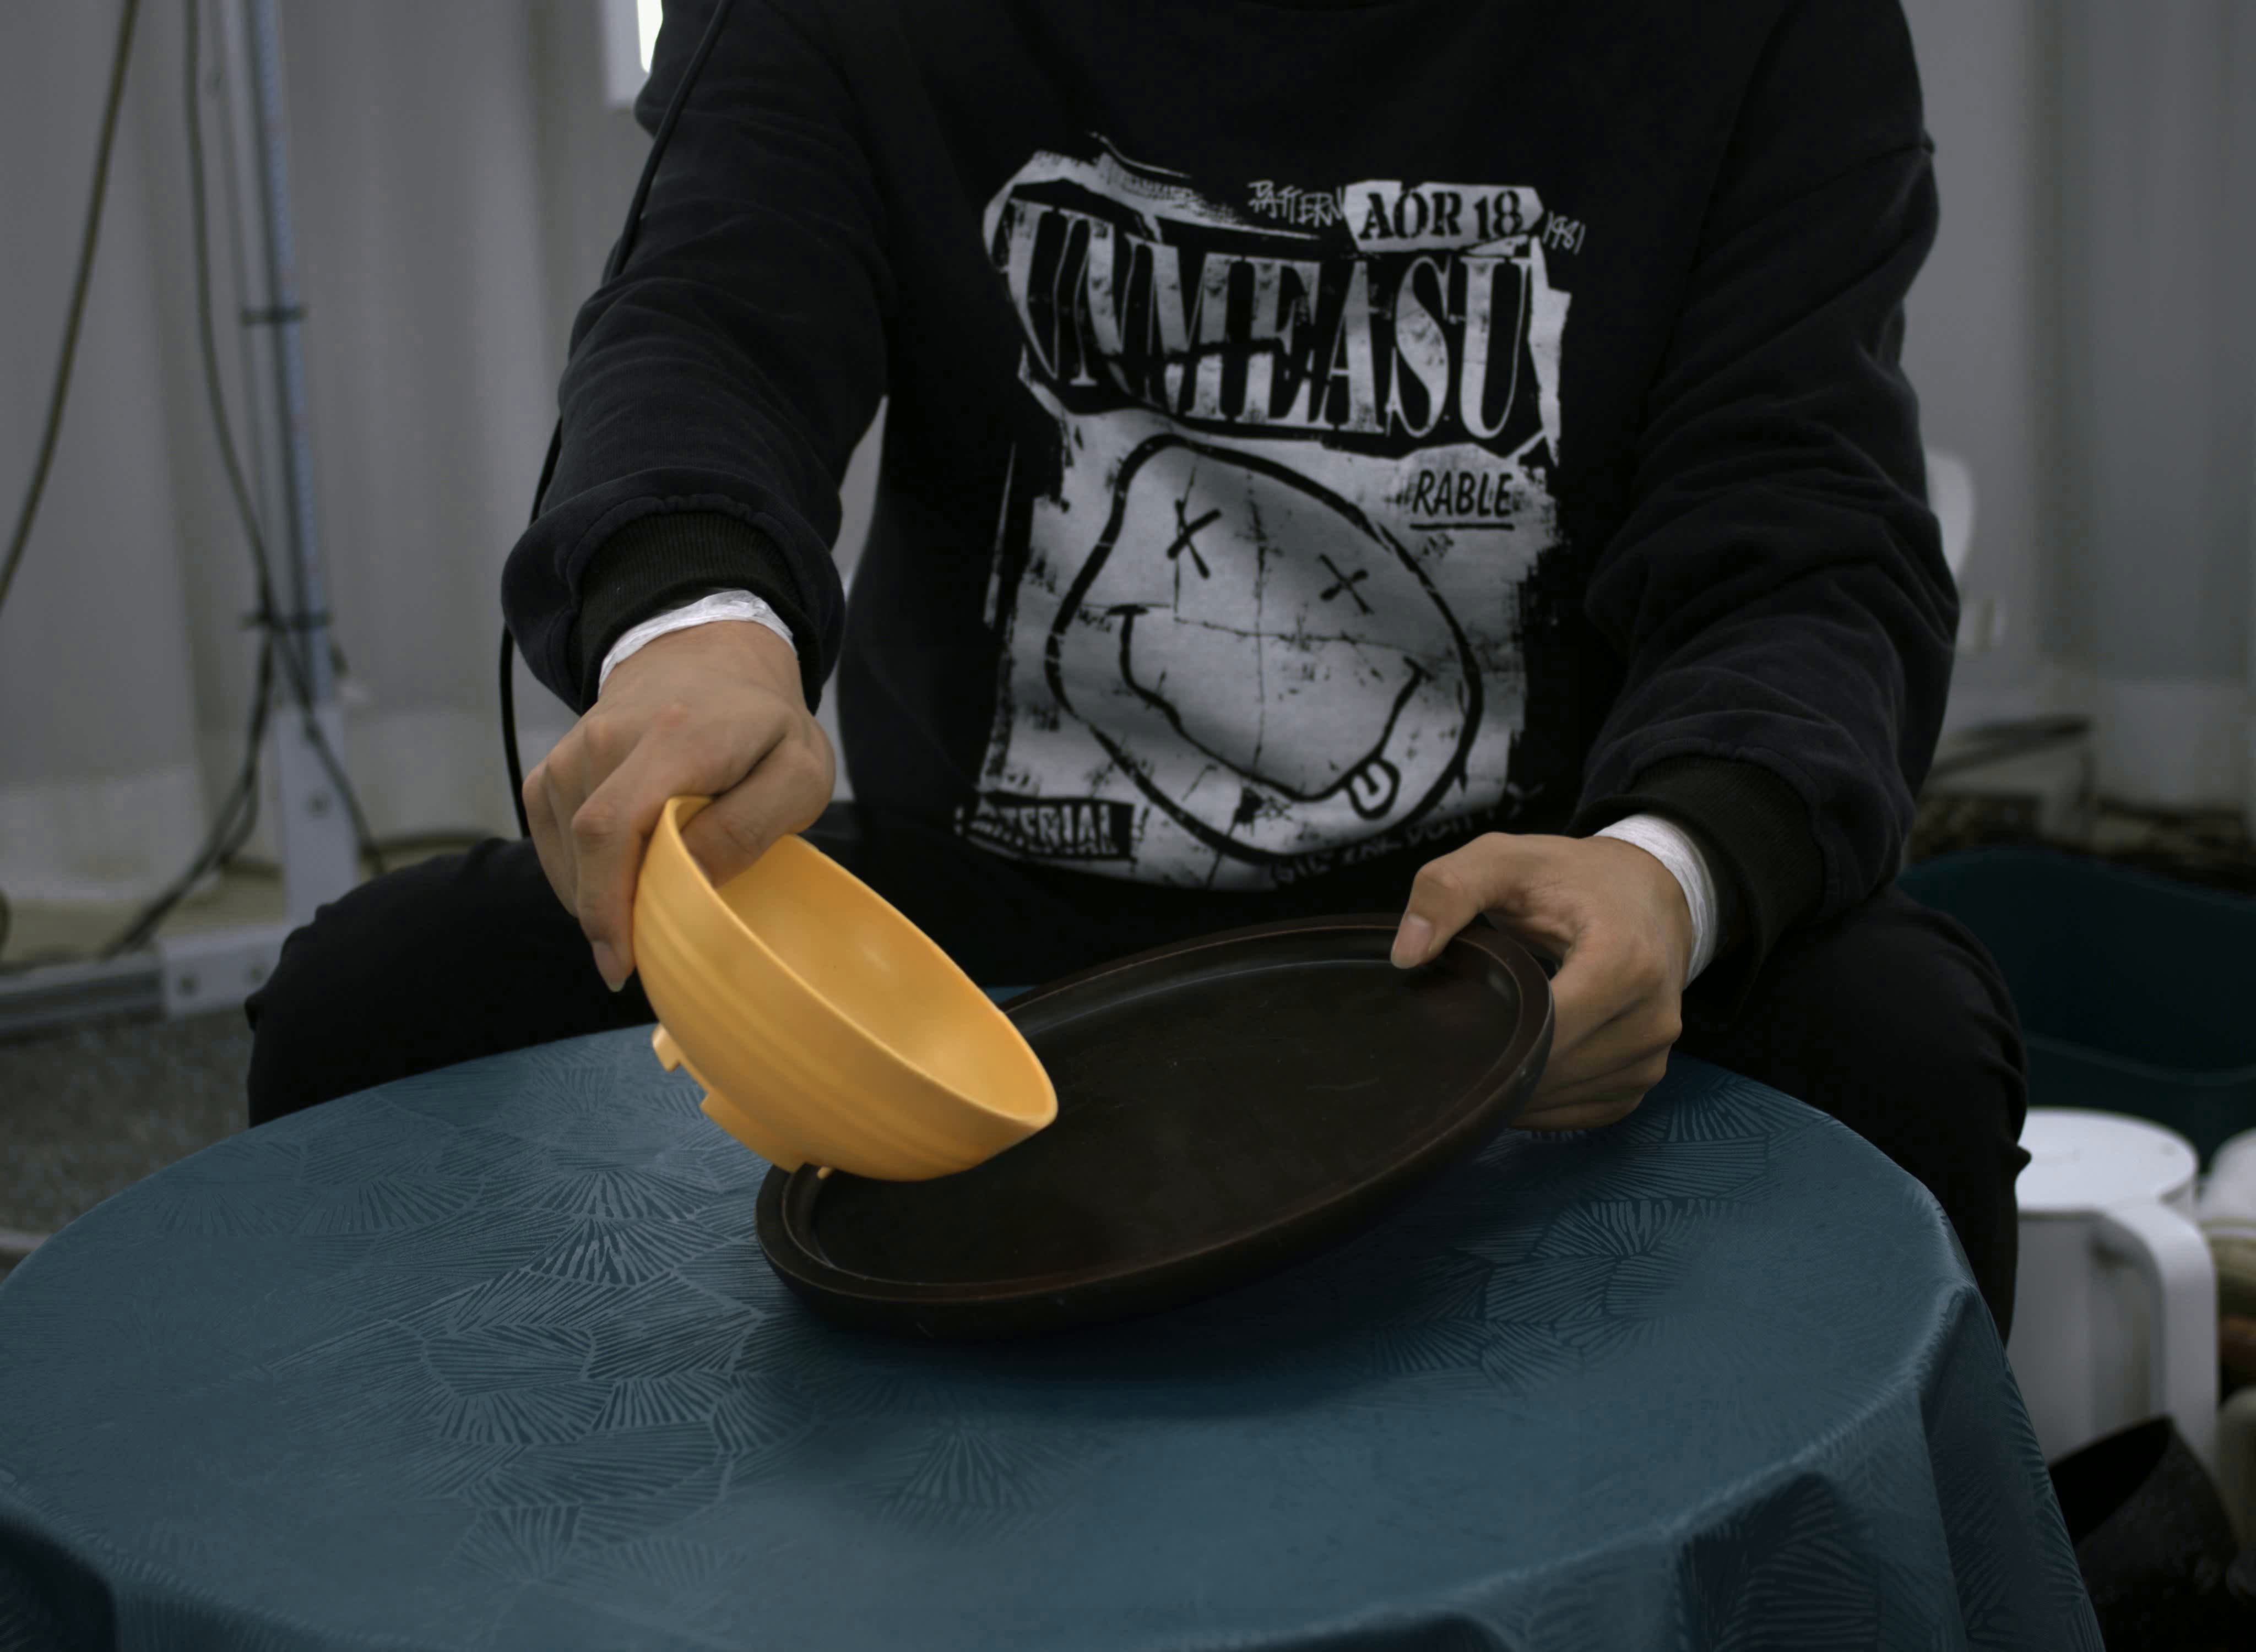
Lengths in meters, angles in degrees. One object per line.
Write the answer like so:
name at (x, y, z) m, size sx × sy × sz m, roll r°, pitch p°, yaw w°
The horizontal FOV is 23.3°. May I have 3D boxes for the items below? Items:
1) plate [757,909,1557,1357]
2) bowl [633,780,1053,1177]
plate at (0.010, 0.091, 1.653) m, size 0.254 × 0.029 × 0.257 m, roll -18°, pitch 18°, yaw 5°
bowl at (-0.094, 0.056, 1.580) m, size 0.144 × 0.060 × 0.146 m, roll 39°, pitch 12°, yaw -10°
